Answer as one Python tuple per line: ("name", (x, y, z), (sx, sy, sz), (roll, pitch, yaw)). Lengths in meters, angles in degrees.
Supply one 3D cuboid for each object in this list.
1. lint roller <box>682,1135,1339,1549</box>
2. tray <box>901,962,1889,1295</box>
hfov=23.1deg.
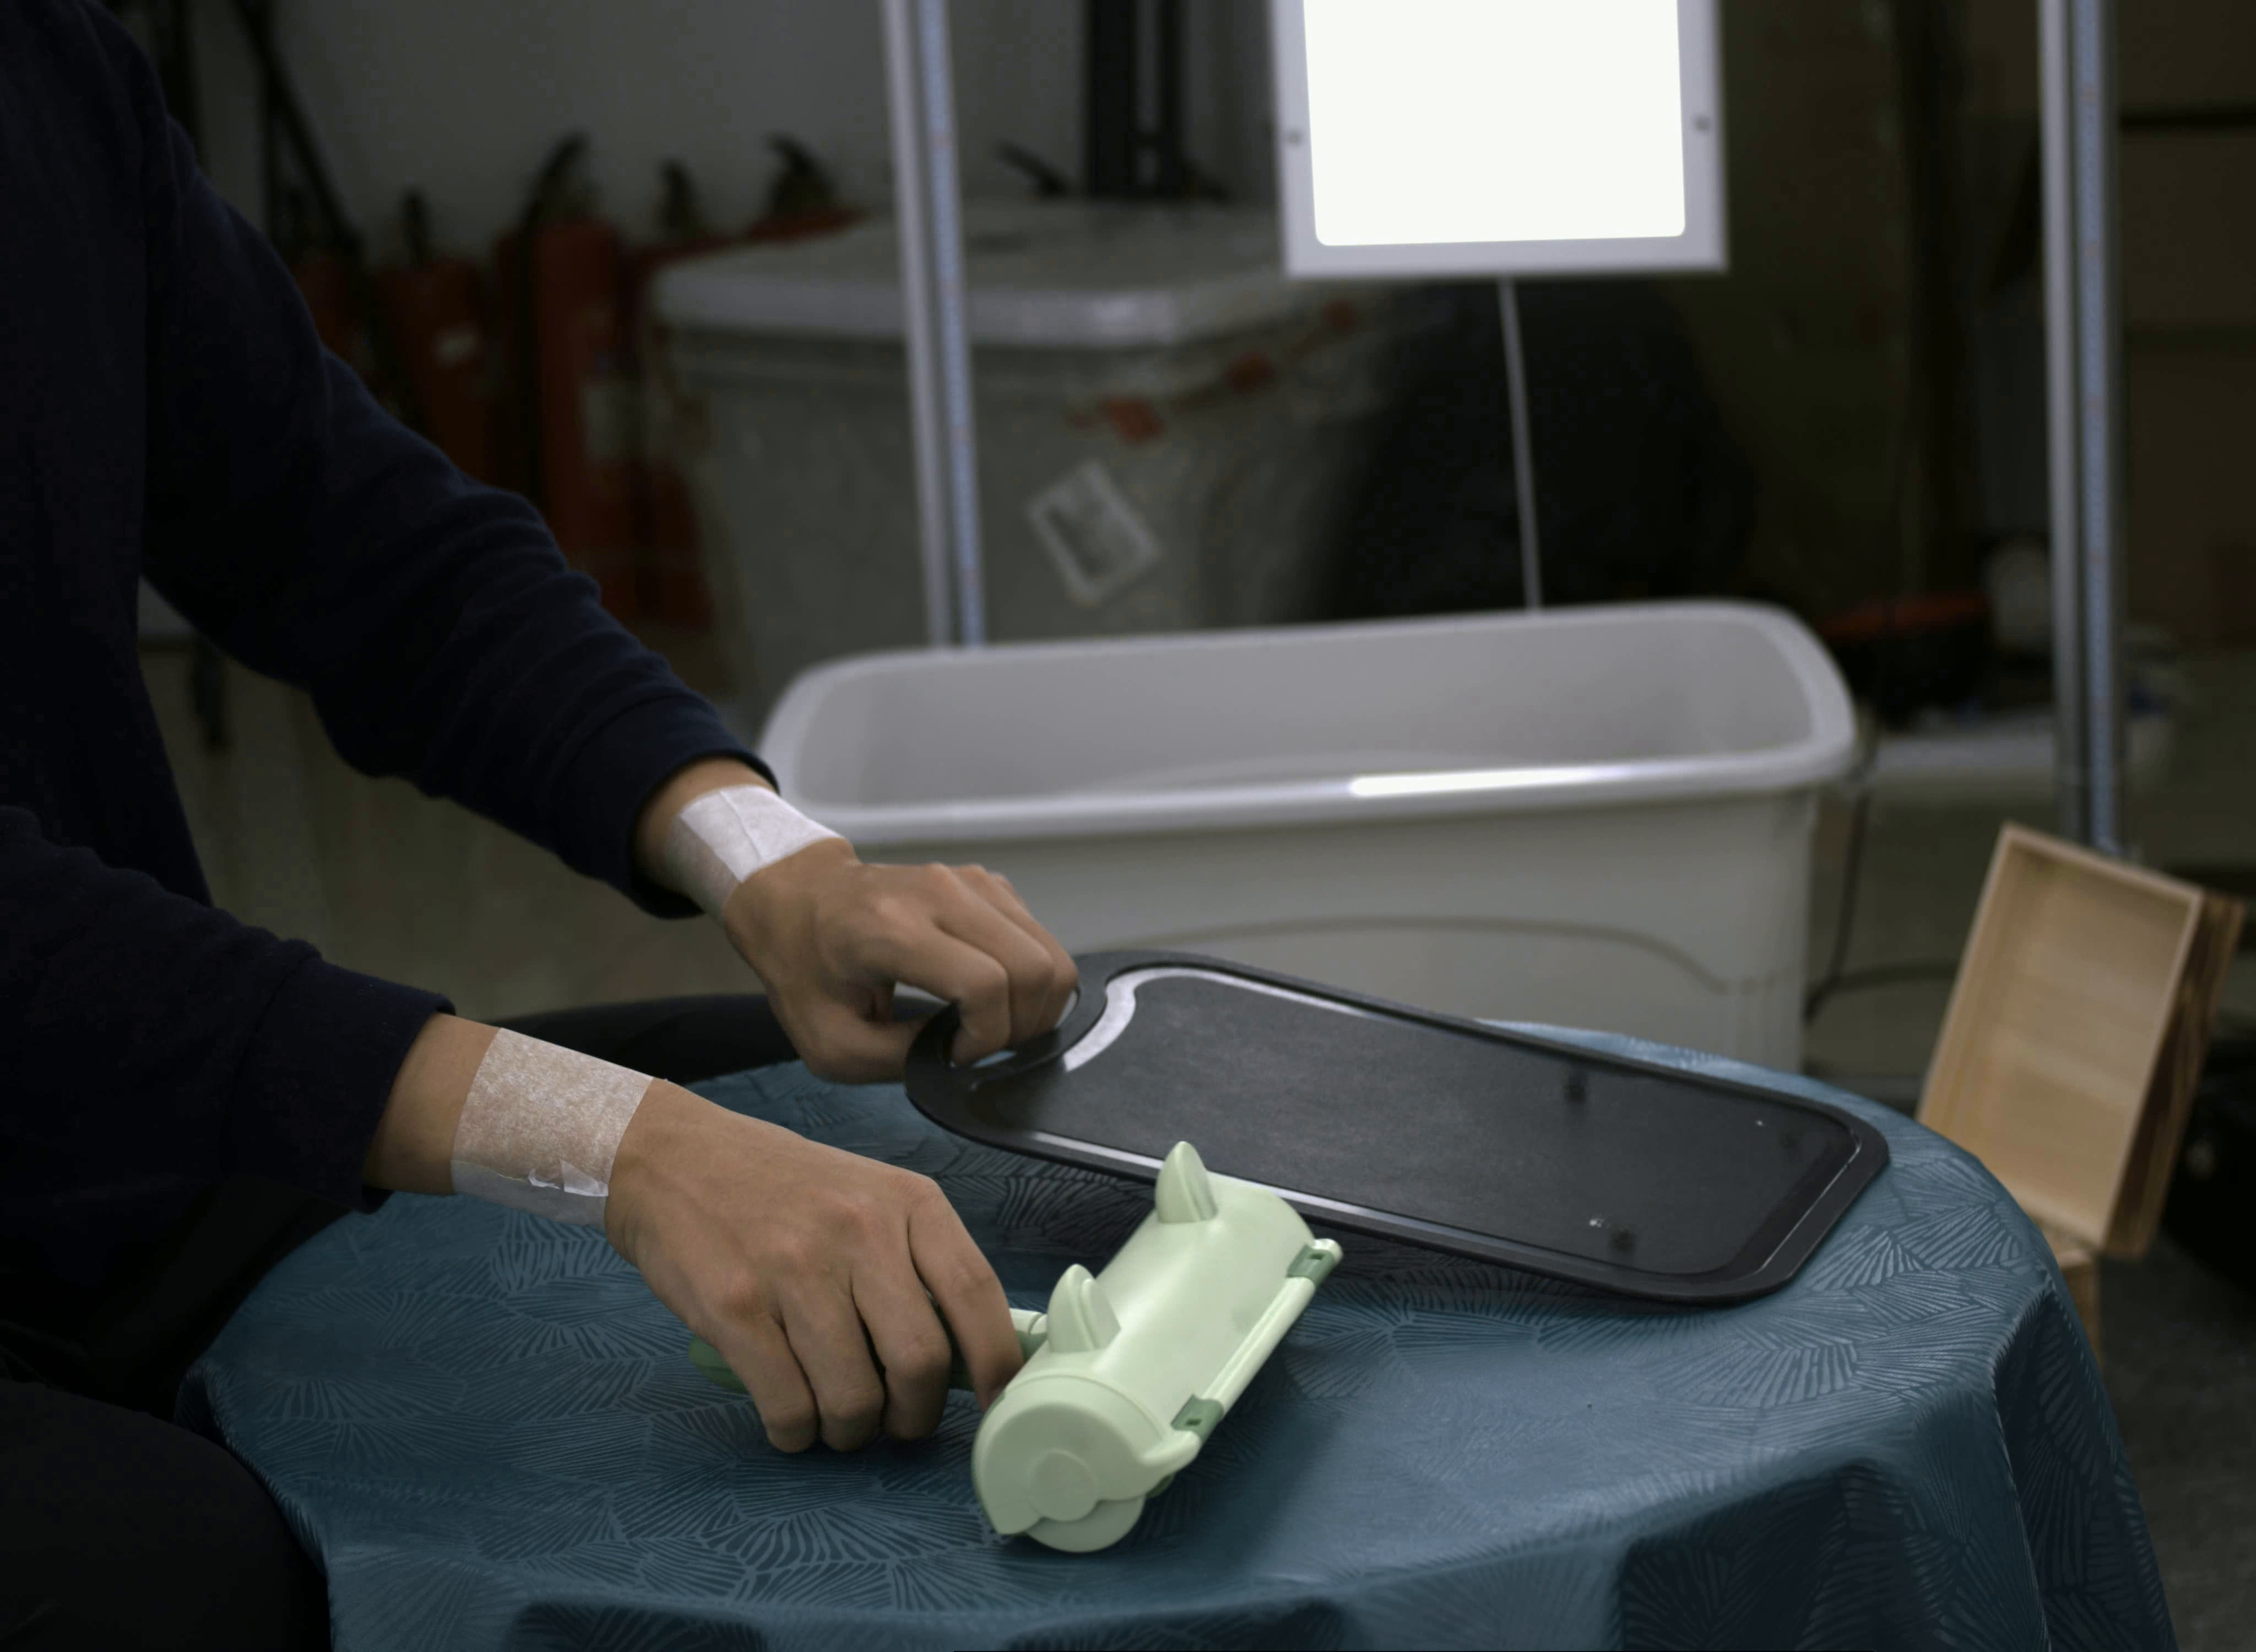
("lint roller", (-0.045, 0.139, 1.660), (0.185, 0.083, 0.195), (12, 18, 15))
("tray", (0.085, 0.096, 1.859), (0.329, 0.010, 0.207), (12, 19, 21))
